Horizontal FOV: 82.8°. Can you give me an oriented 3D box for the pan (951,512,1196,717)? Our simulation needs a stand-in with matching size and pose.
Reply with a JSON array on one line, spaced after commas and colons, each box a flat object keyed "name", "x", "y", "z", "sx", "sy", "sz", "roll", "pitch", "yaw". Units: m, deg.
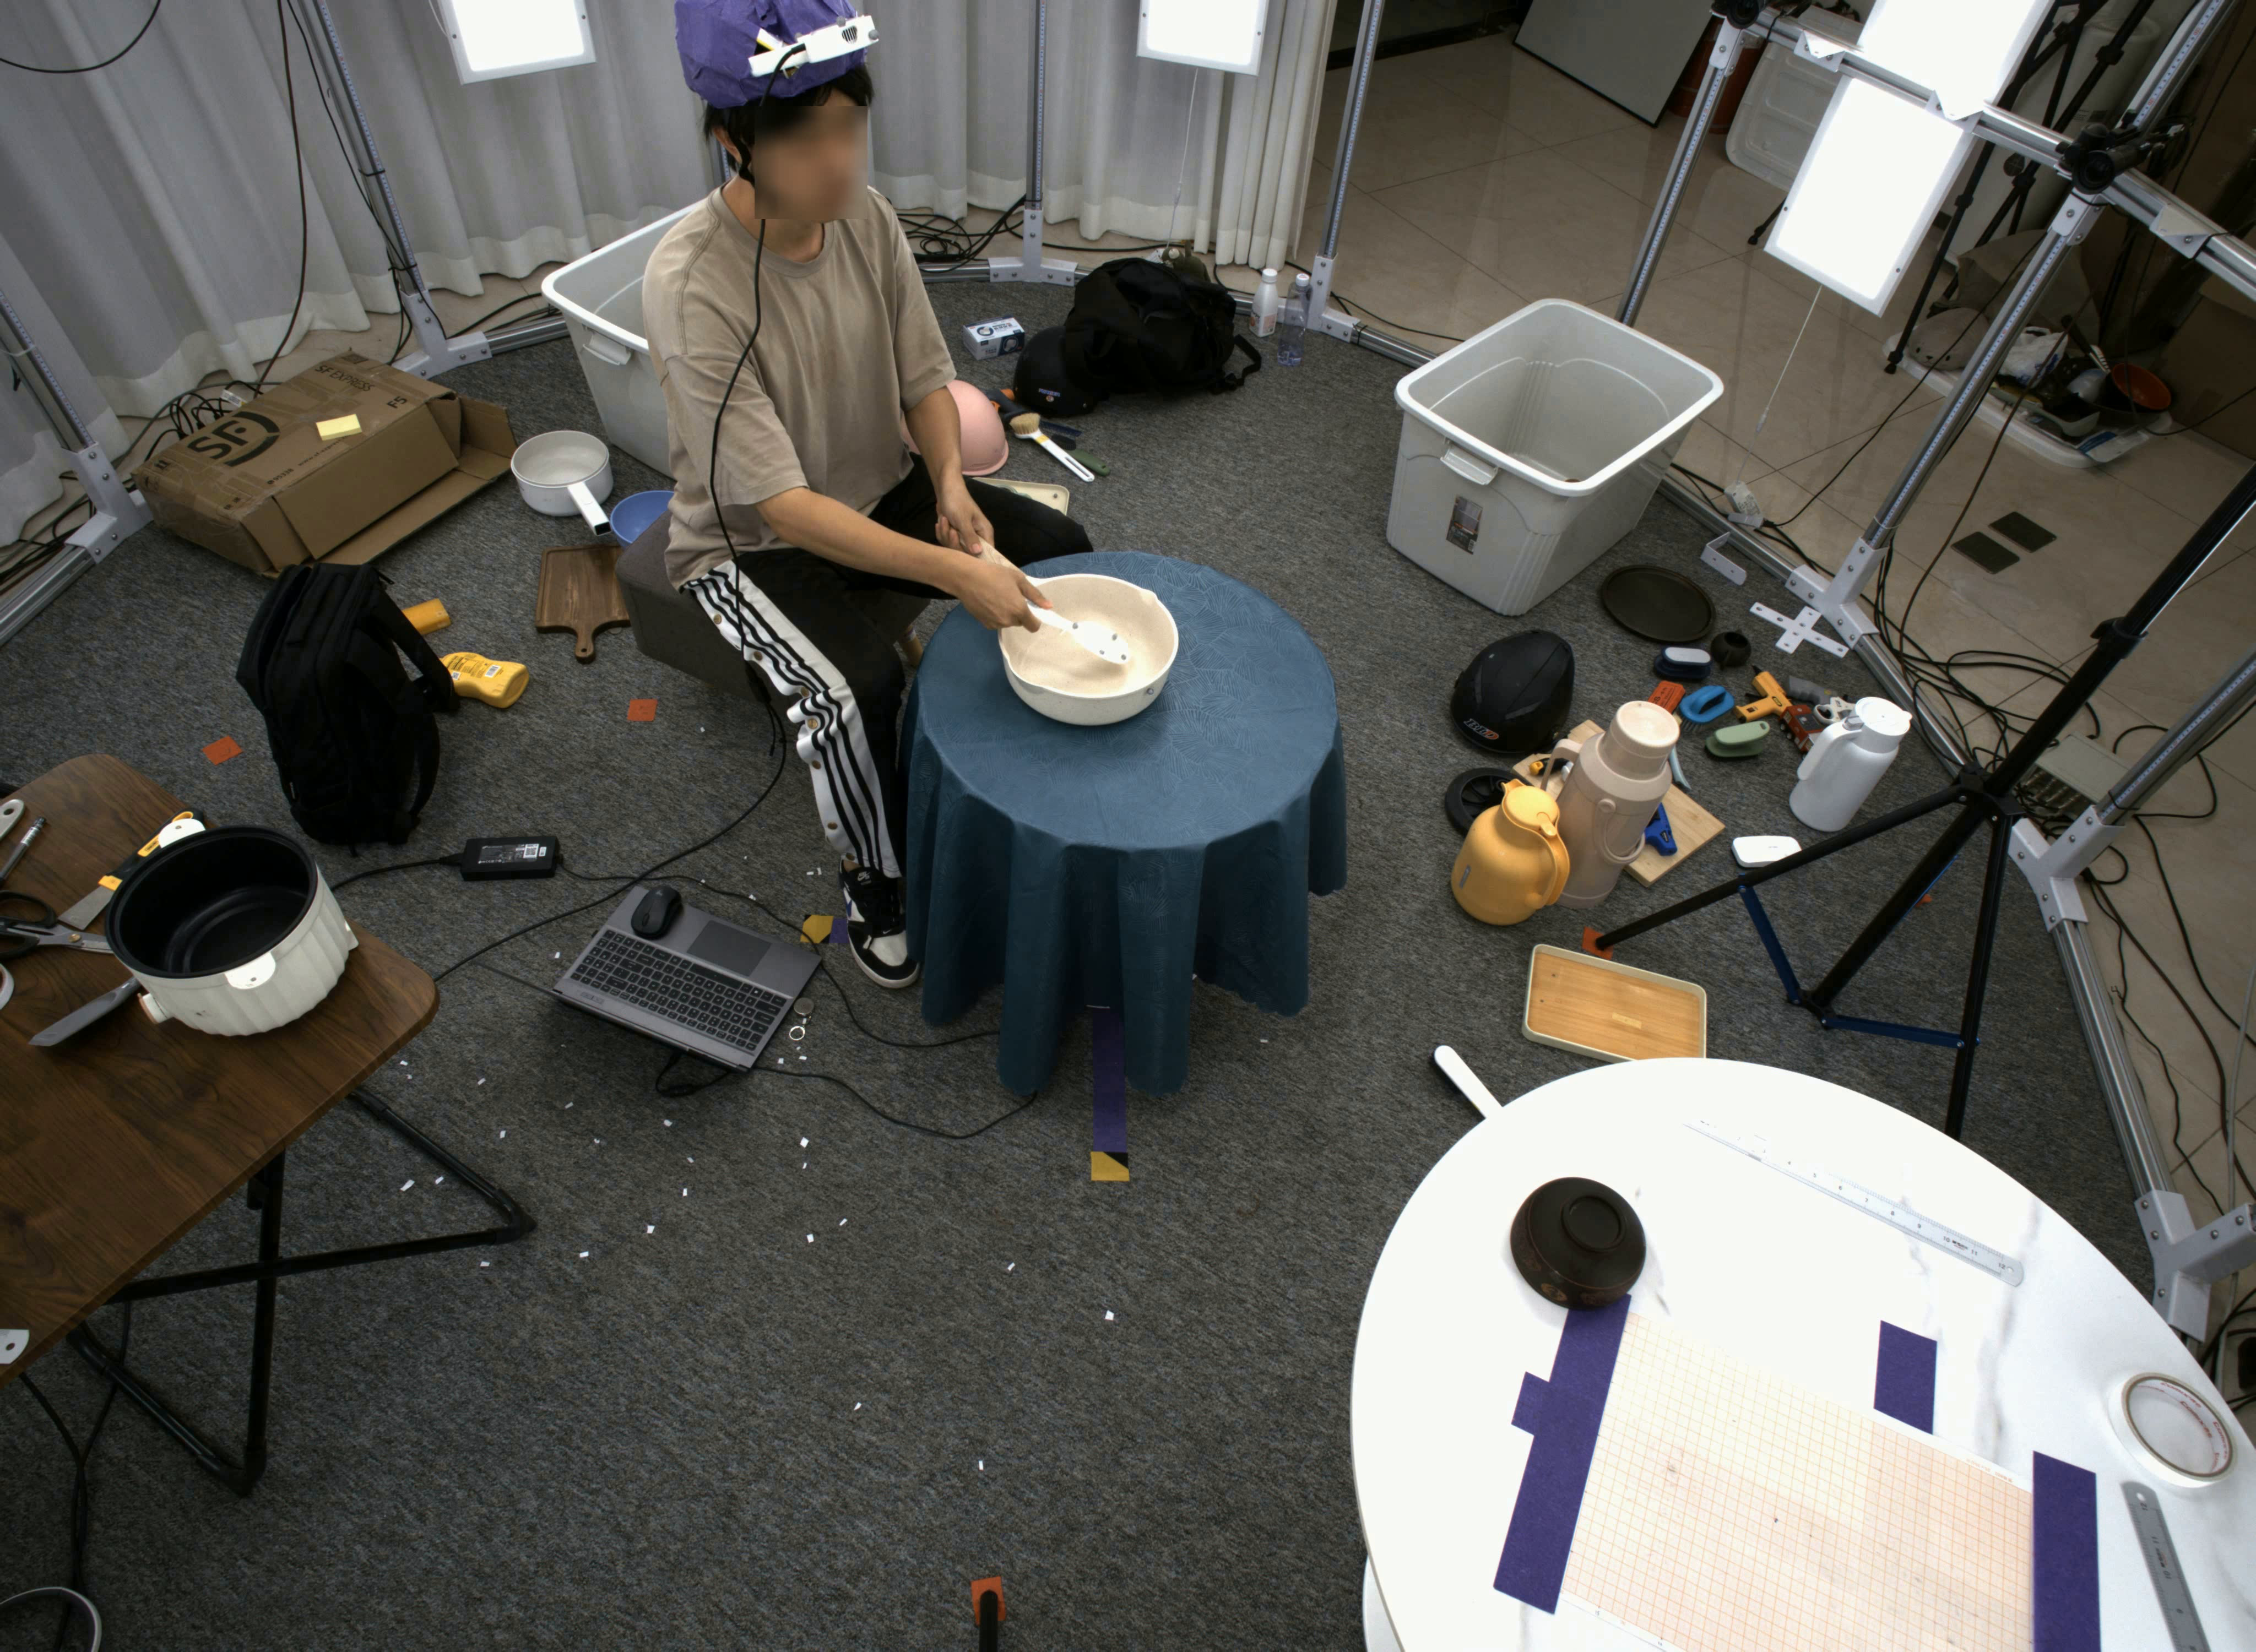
[{"name": "pan", "x": -0.098, "y": -0.312, "z": 1.855, "sx": 0.441, "sy": 0.099, "sz": 0.266, "roll": 38, "pitch": 58, "yaw": 25}]

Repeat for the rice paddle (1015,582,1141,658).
[{"name": "rice paddle", "x": -0.063, "y": -0.287, "z": 1.795, "sx": 0.203, "sy": 0.029, "sz": 0.070, "roll": 21, "pitch": 41, "yaw": -28}]
